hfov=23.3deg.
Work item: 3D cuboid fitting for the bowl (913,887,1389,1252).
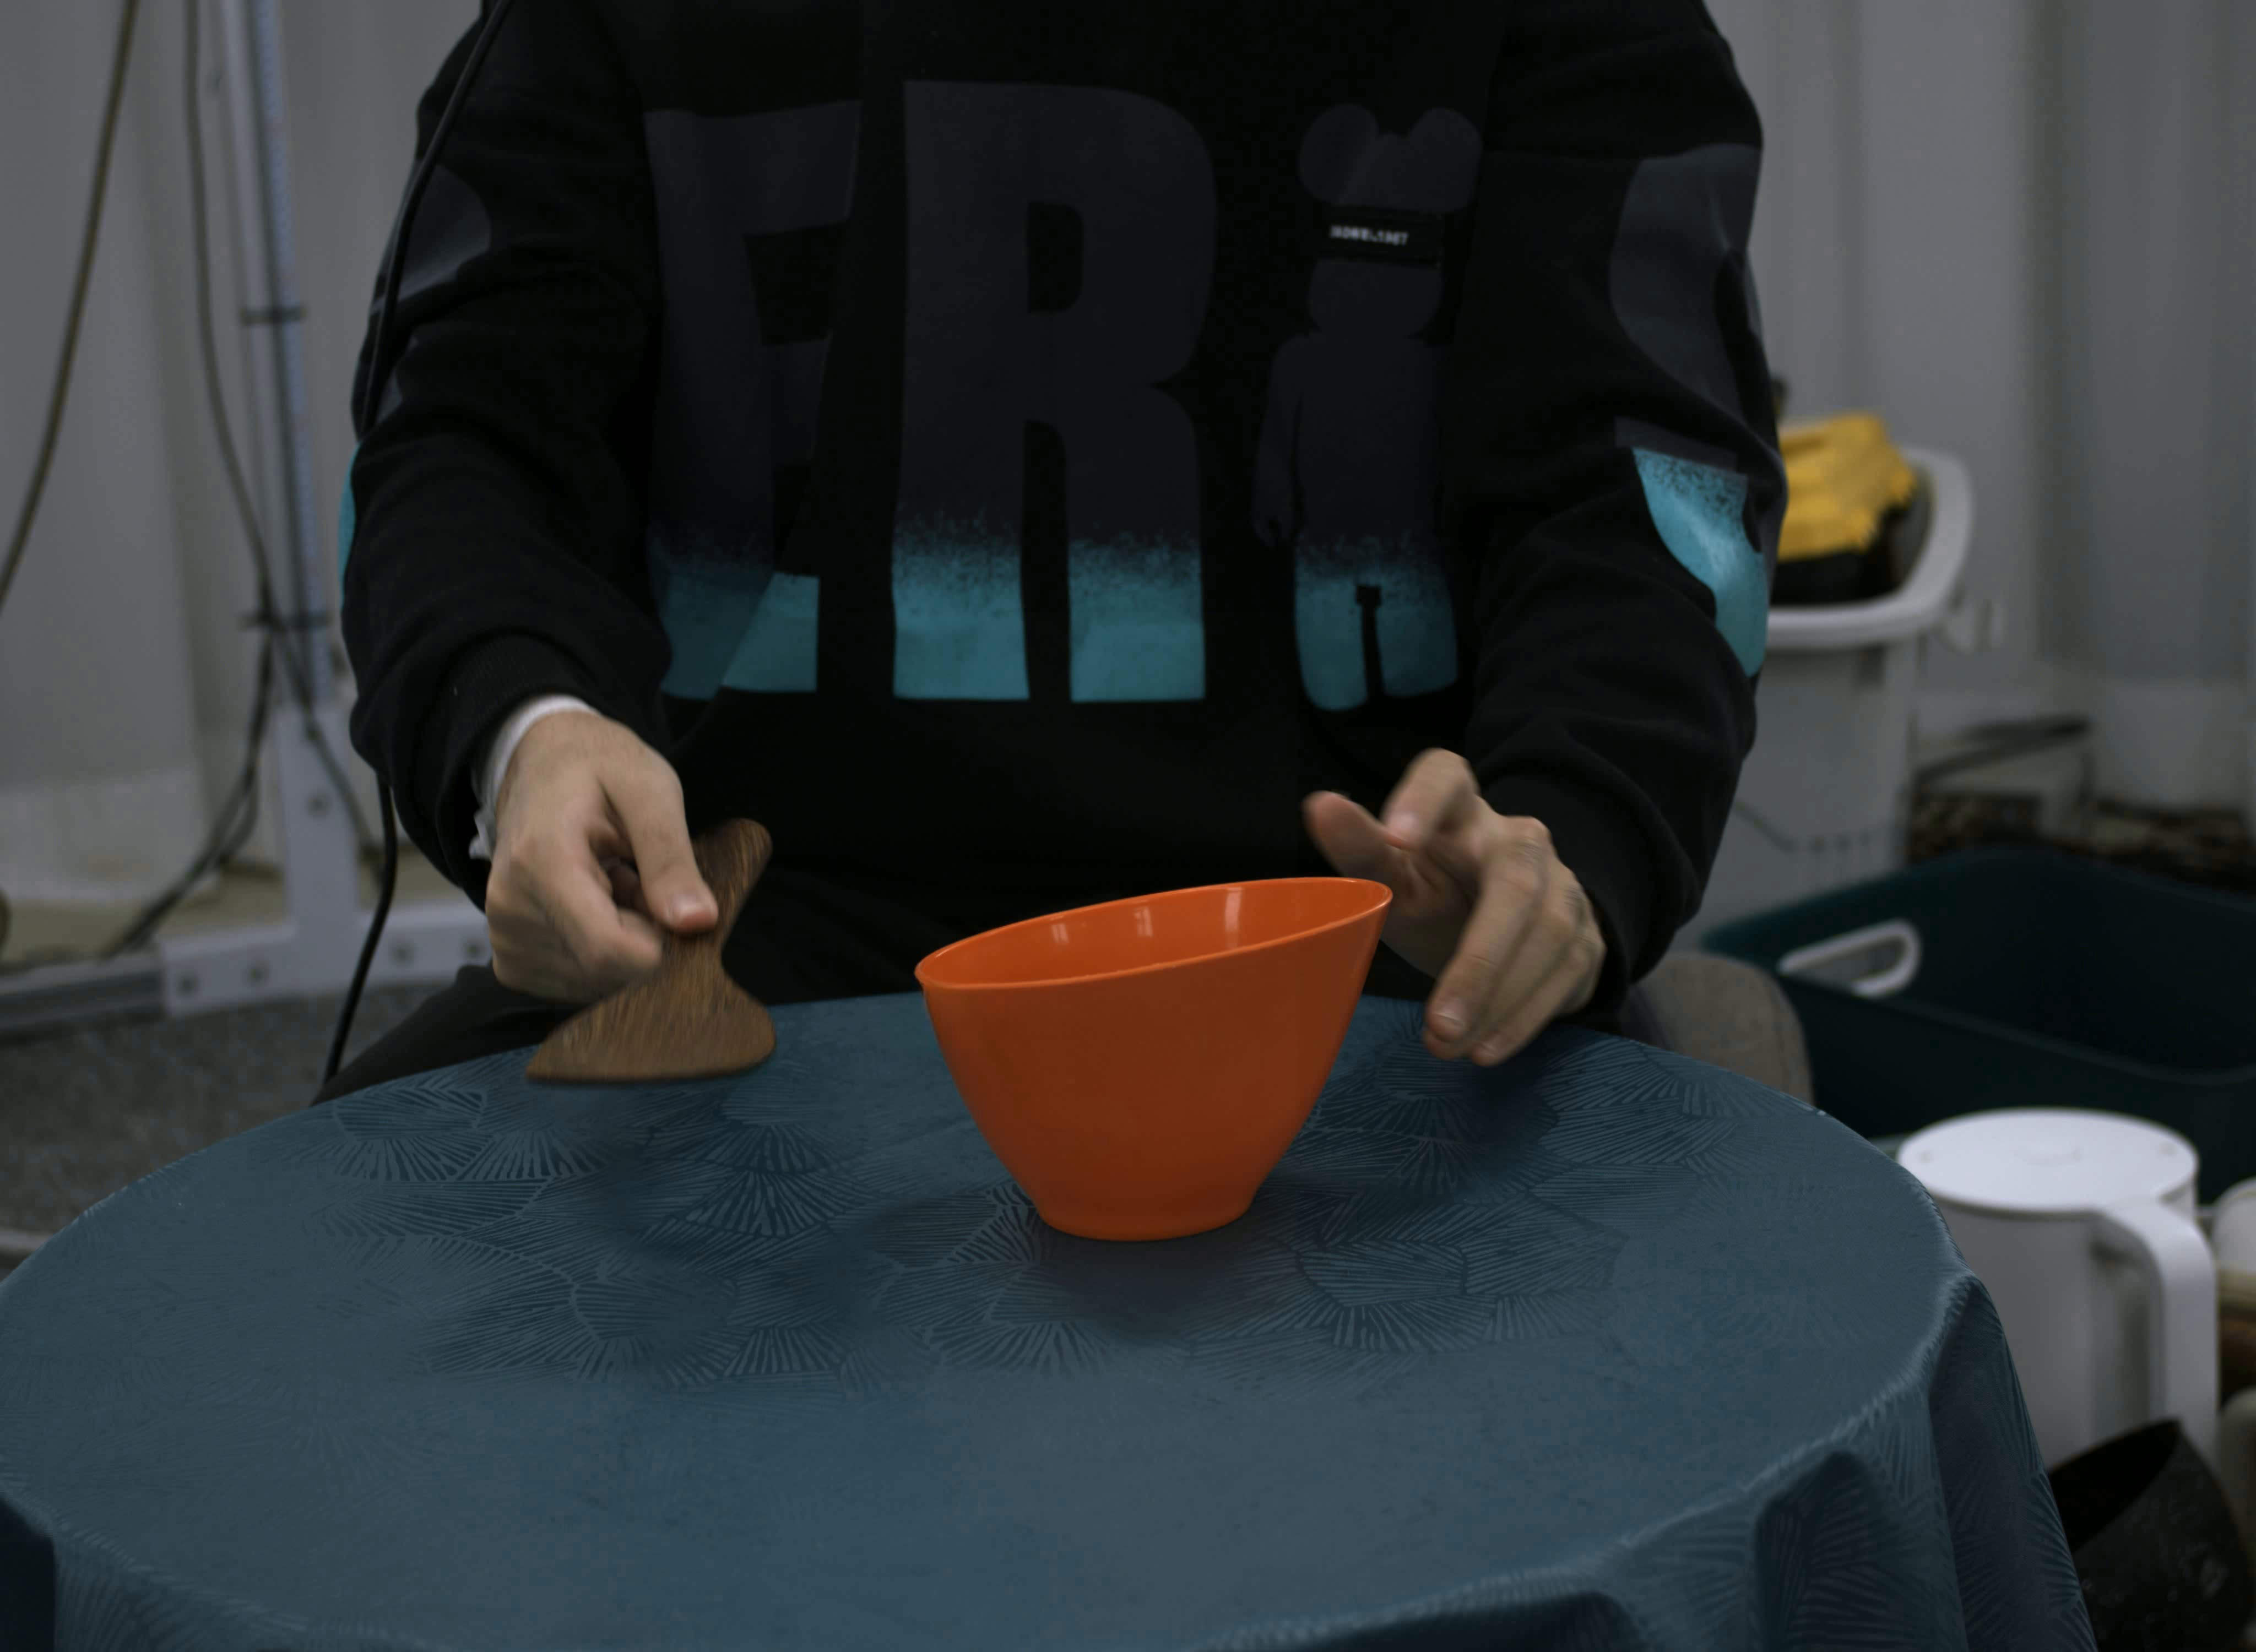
[{"bbox_3d":[0.009,0.074,1.678,0.147,0.104,0.149,-4,13,1],"label":"bowl"}]

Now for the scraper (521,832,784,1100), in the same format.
[{"bbox_3d":[-0.135,0.043,1.695,0.075,0.011,0.213,-2,21,5],"label":"scraper"}]
